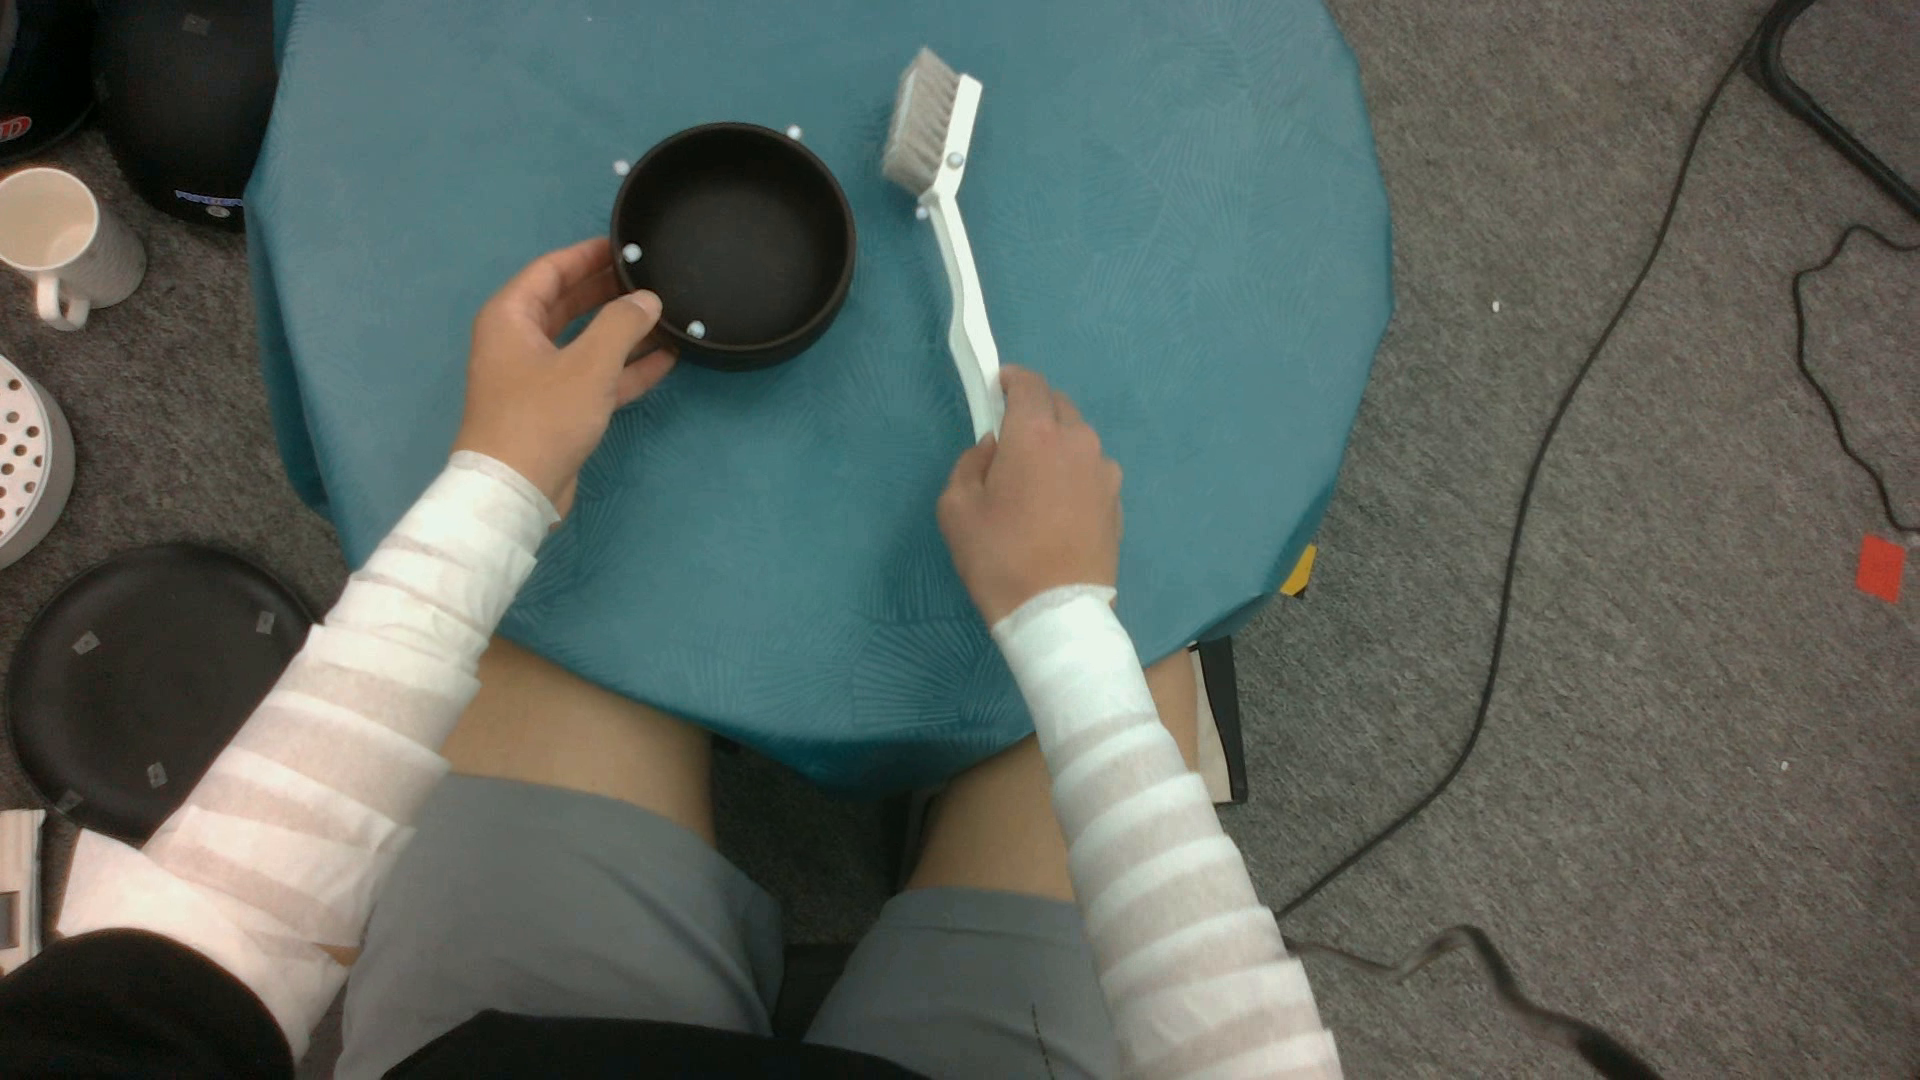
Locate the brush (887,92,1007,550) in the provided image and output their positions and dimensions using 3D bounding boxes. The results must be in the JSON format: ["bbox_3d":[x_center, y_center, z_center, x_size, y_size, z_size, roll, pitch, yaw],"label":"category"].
[{"bbox_3d":[-0.008,-0.114,0.715,0.050,0.034,0.244,-1,80,-22],"label":"brush"}]

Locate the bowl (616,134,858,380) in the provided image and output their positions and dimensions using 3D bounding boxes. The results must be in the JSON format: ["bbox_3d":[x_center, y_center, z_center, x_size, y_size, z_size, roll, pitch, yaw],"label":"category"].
[{"bbox_3d":[-0.113,-0.137,0.697,0.118,0.069,0.118,2,82,-11],"label":"bowl"}]
